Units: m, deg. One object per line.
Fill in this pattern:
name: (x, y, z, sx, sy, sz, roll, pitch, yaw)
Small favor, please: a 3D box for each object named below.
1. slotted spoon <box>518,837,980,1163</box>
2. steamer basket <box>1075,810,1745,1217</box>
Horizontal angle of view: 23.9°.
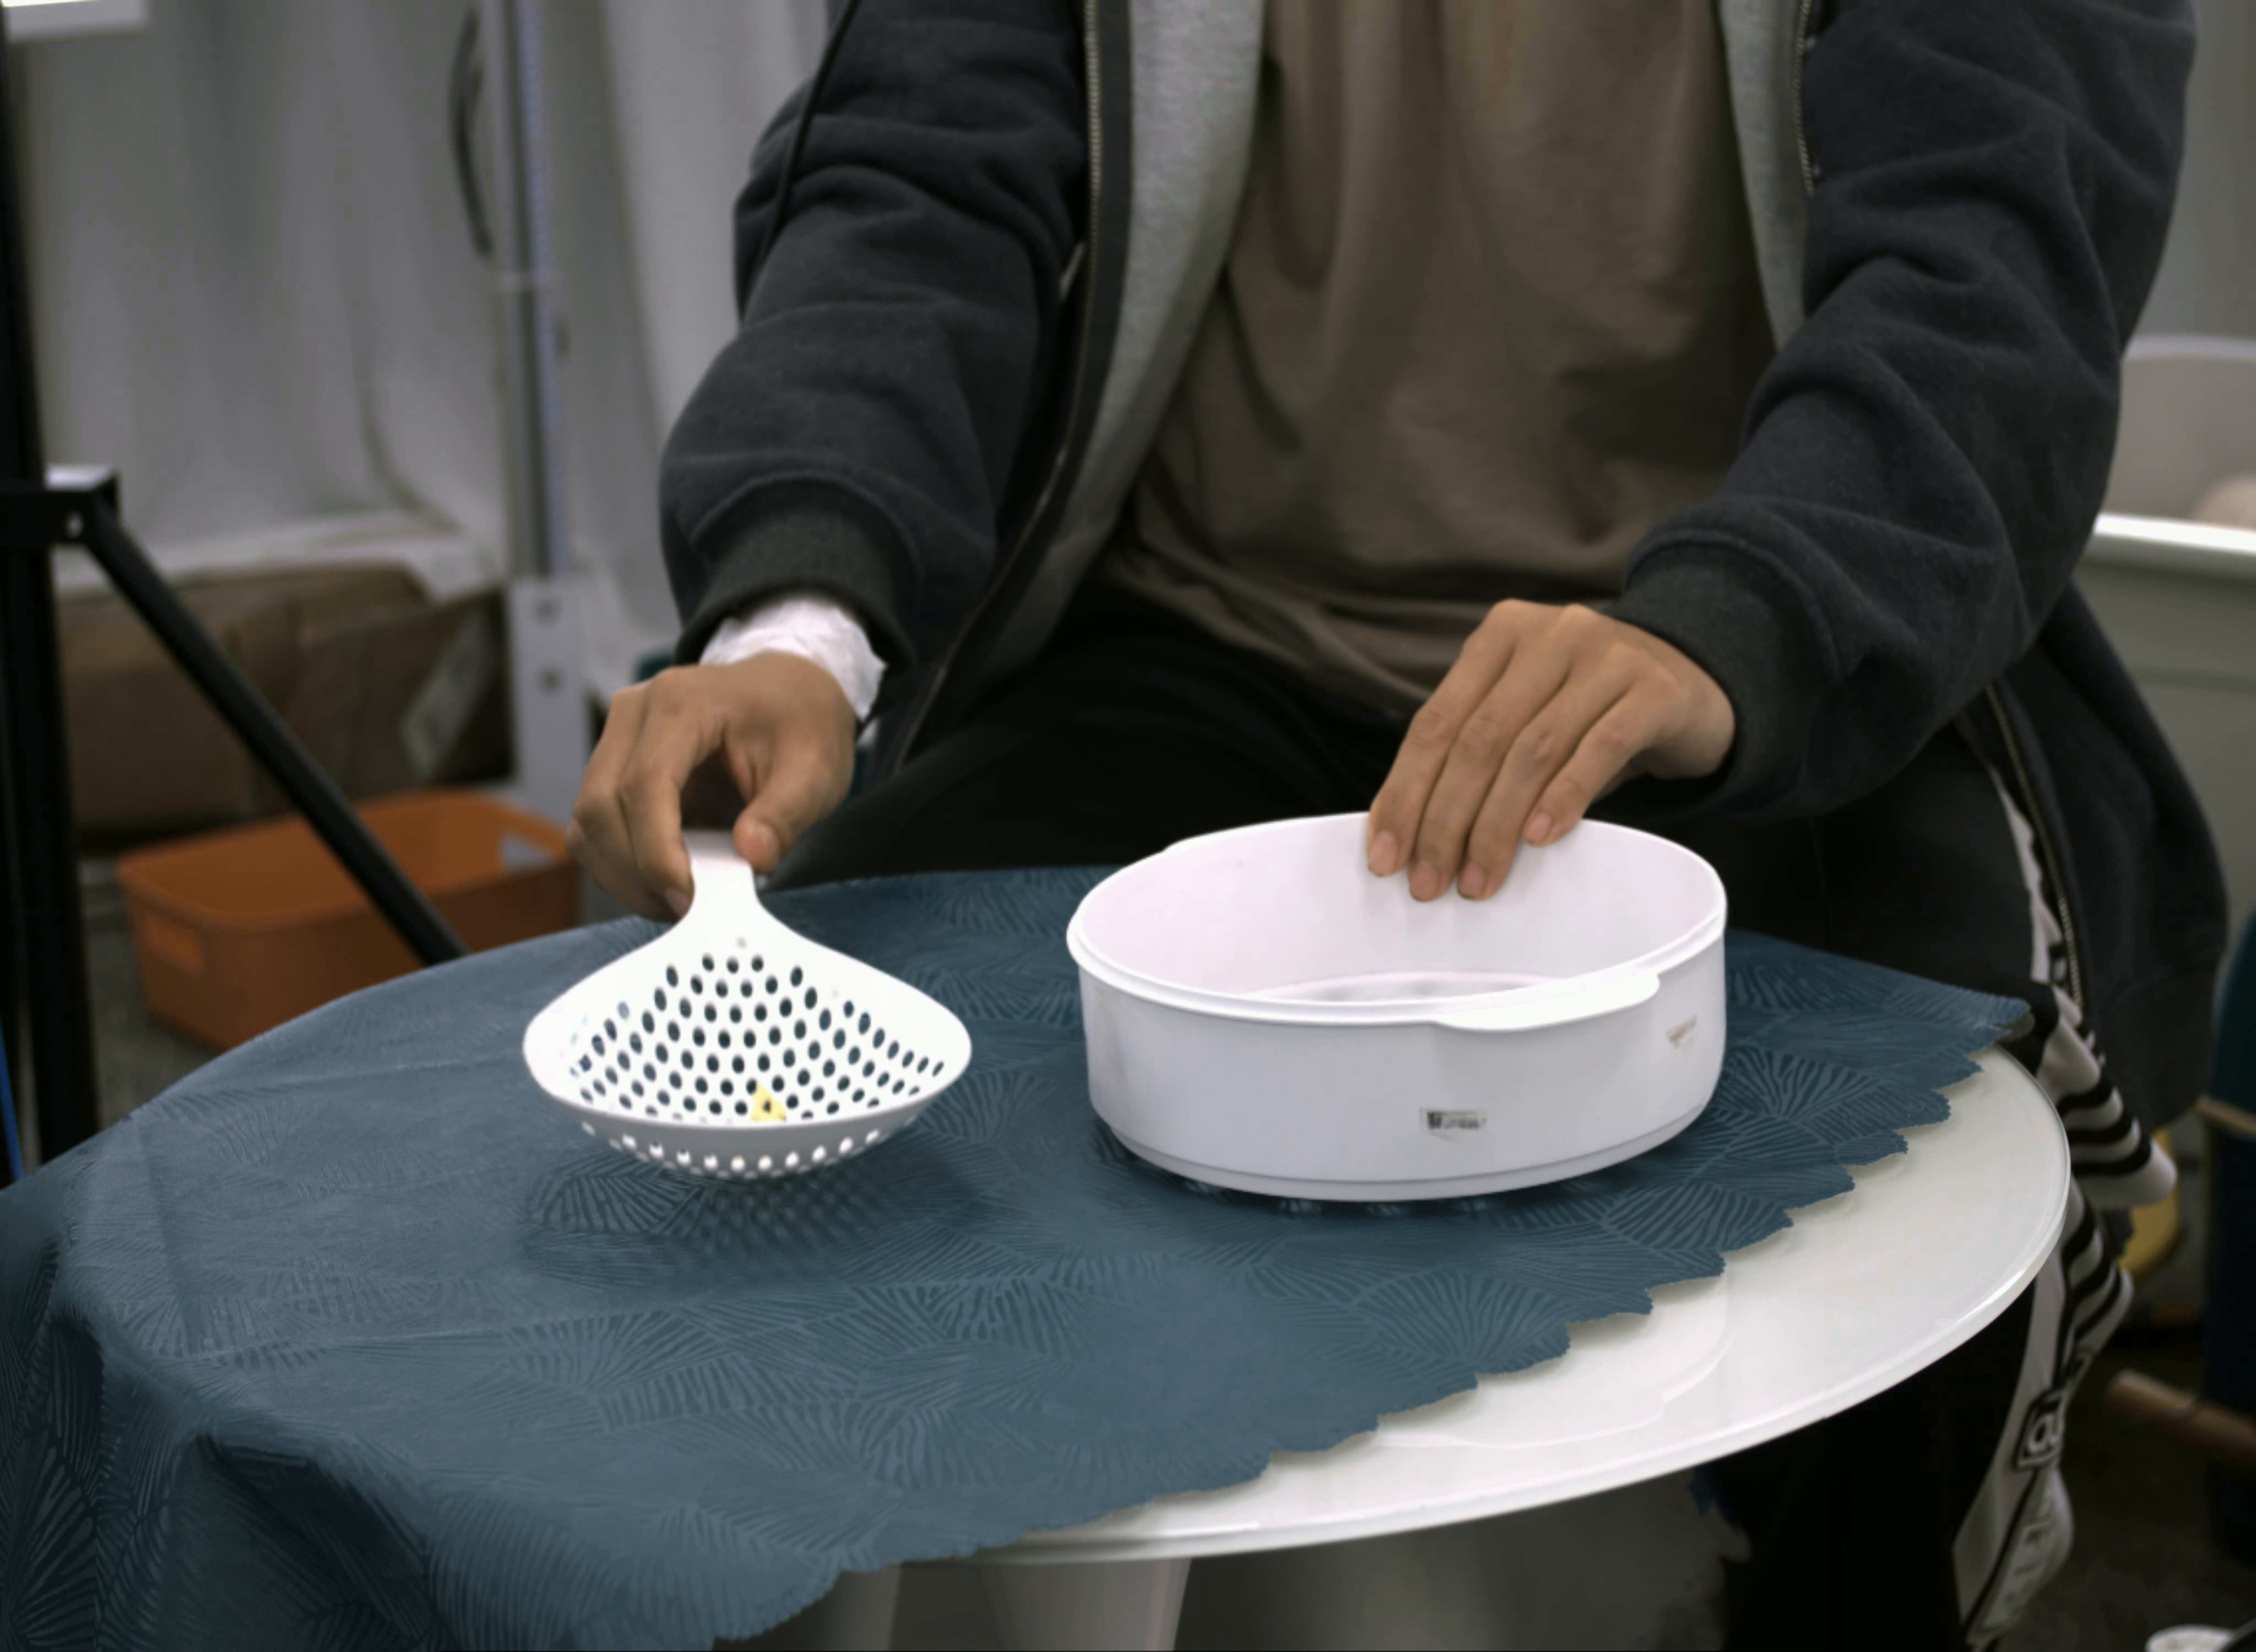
slotted spoon: (-0.126, 0.040, 1.681, 0.135, 0.050, 0.351, -5, 20, -6)
steamer basket: (0.085, 0.056, 1.600, 0.198, 0.069, 0.235, -10, 19, -21)
